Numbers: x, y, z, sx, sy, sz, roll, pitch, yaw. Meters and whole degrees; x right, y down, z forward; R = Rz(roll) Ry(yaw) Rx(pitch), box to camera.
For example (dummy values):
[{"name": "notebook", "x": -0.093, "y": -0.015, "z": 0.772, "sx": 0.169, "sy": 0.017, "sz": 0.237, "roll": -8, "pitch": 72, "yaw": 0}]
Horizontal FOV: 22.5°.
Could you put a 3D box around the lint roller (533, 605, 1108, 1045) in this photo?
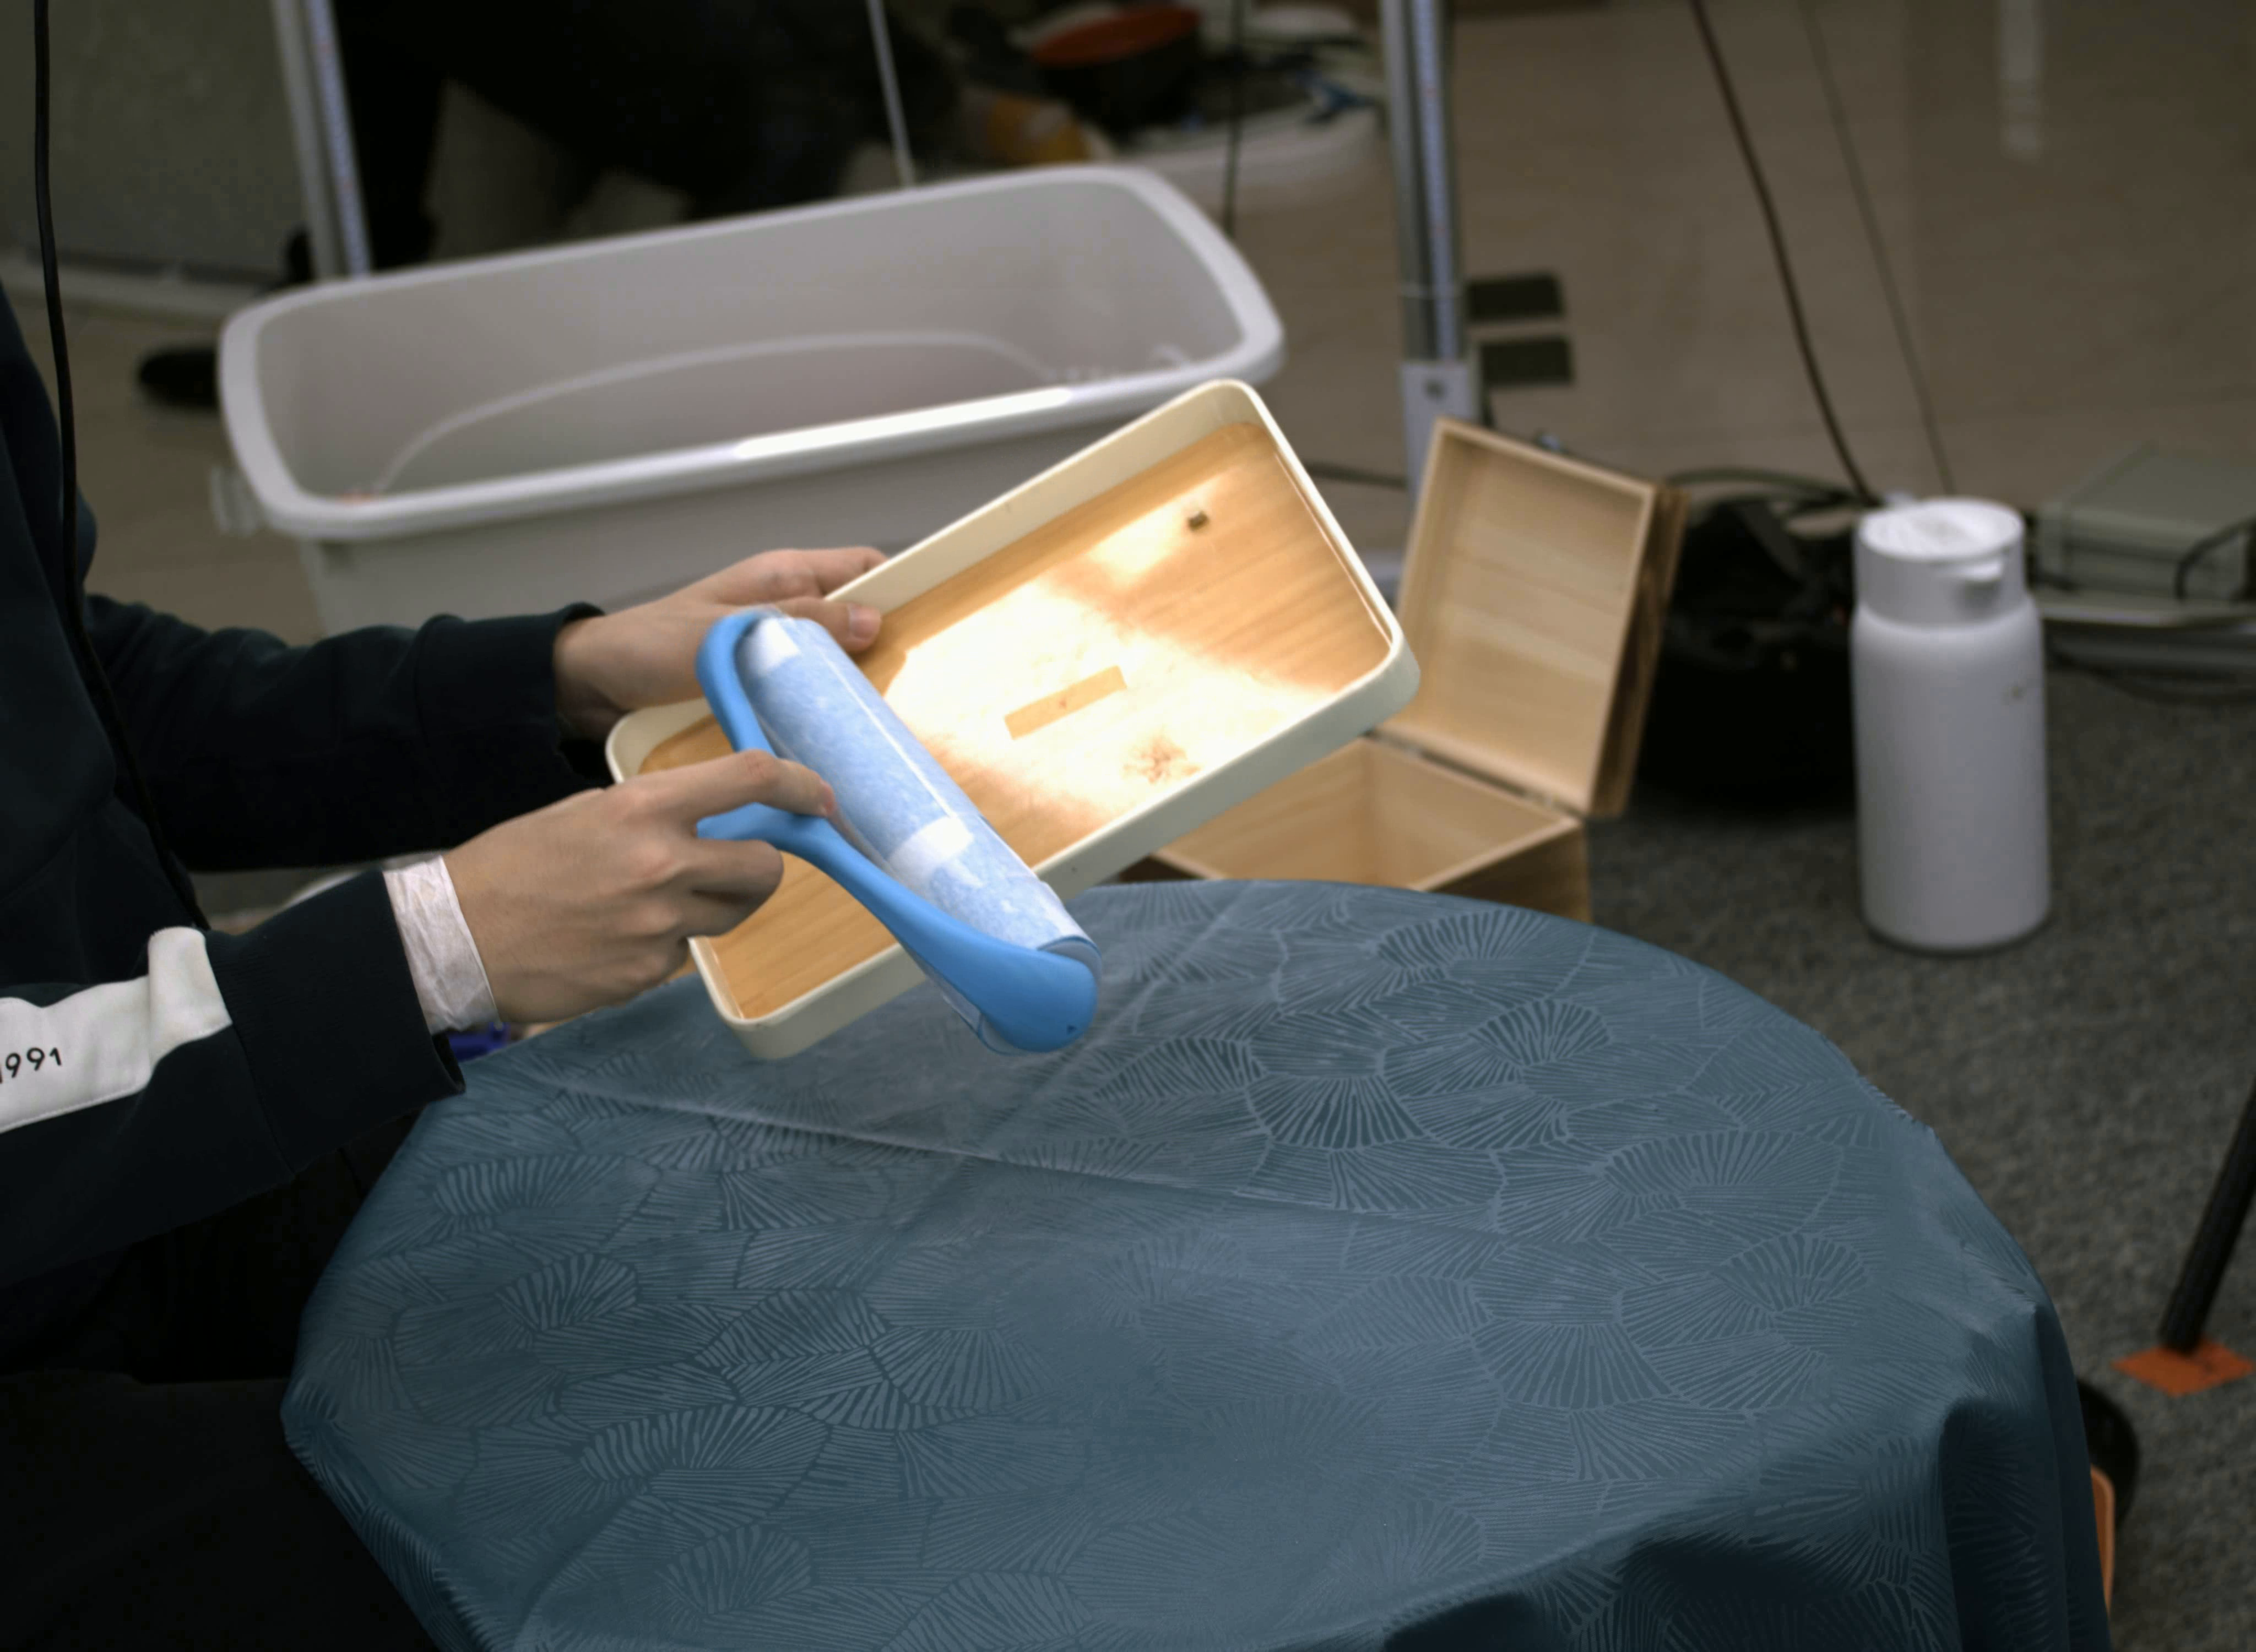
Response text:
[{"name": "lint roller", "x": -0.129, "y": 0.015, "z": 2.027, "sx": 0.179, "sy": 0.069, "sz": 0.226, "roll": -21, "pitch": 54, "yaw": -35}]

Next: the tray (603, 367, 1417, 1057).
[{"name": "tray", "x": -0.049, "y": -0.047, "z": 2.202, "sx": 0.300, "sy": 0.028, "sz": 0.188, "roll": -30, "pitch": 47, "yaw": 3}]
